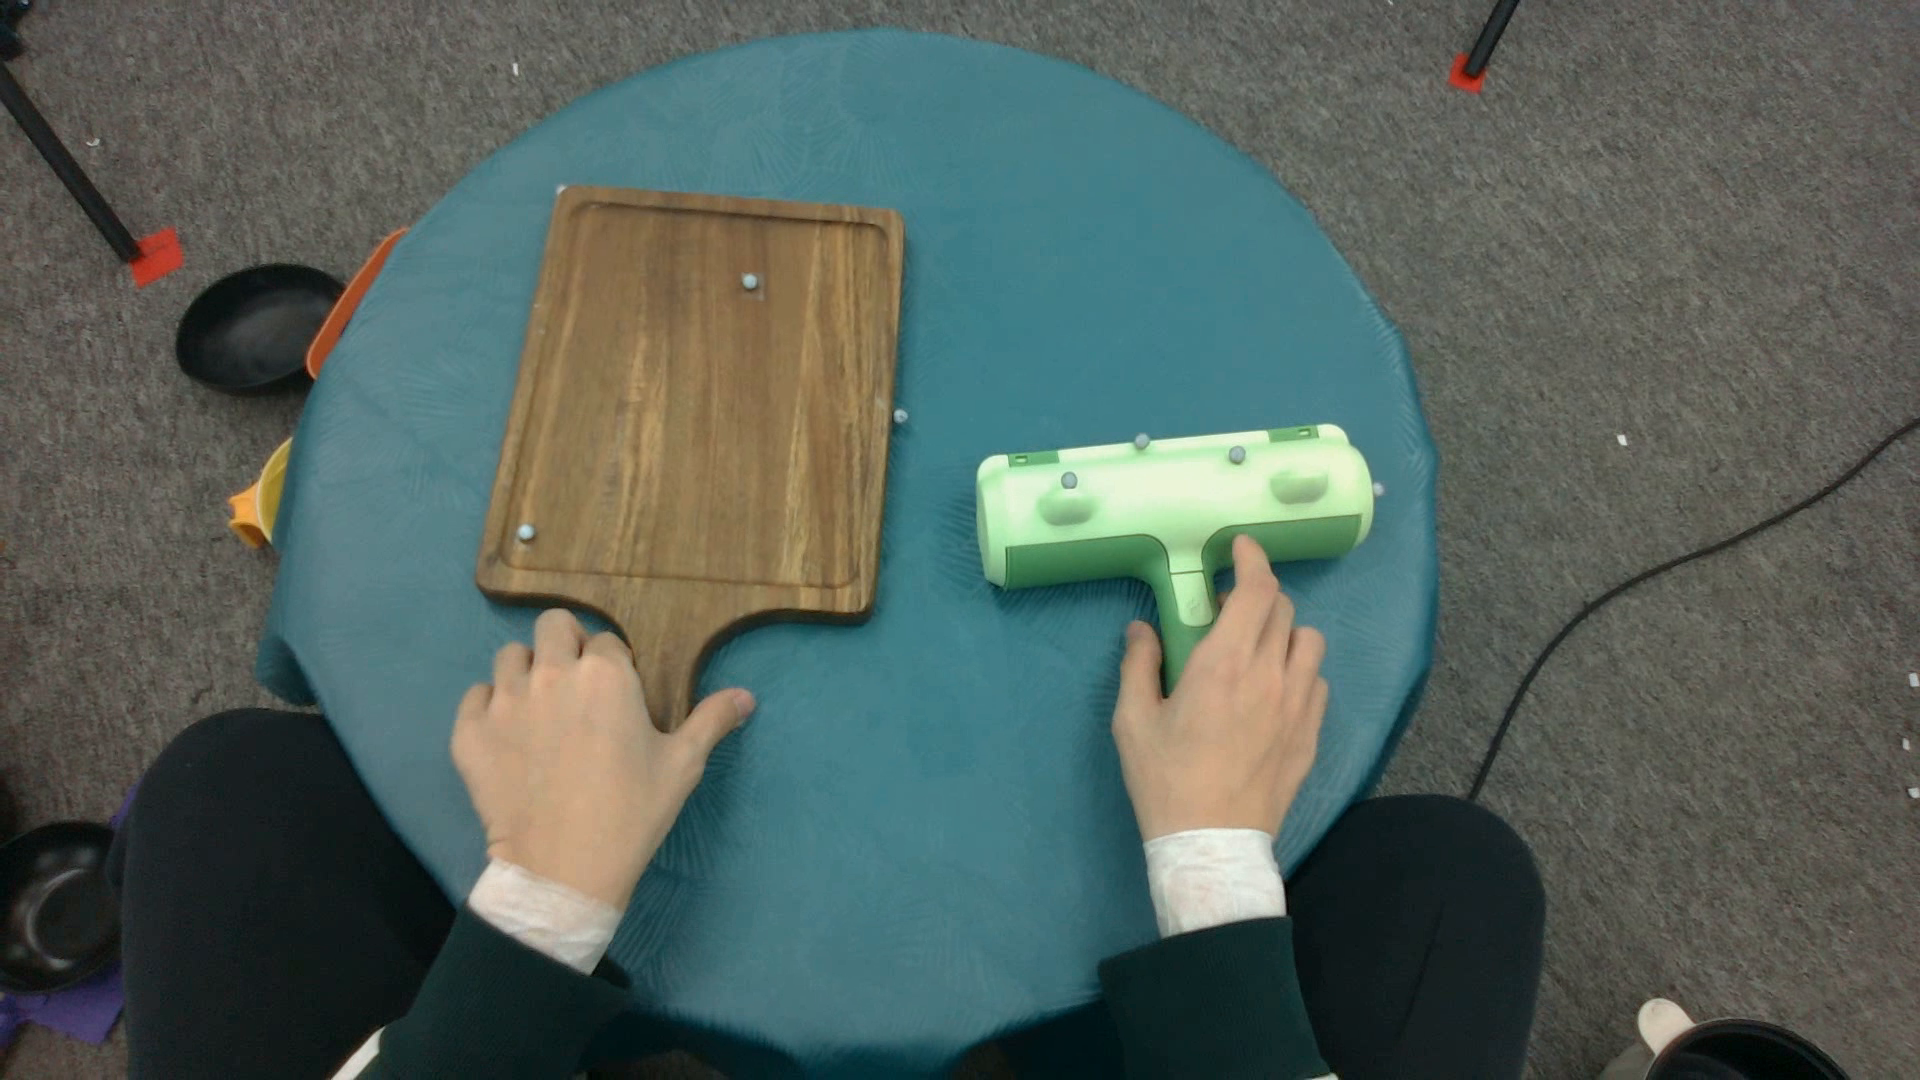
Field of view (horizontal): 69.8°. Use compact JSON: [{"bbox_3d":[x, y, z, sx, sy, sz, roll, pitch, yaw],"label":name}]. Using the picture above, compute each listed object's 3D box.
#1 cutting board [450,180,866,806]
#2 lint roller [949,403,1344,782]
[{"bbox_3d":[-0.151,-0.039,0.710,0.201,0.023,0.353,2,65,-3],"label":"cutting board"},{"bbox_3d":[0.103,0.019,0.668,0.199,0.082,0.184,-6,62,-7],"label":"lint roller"}]
